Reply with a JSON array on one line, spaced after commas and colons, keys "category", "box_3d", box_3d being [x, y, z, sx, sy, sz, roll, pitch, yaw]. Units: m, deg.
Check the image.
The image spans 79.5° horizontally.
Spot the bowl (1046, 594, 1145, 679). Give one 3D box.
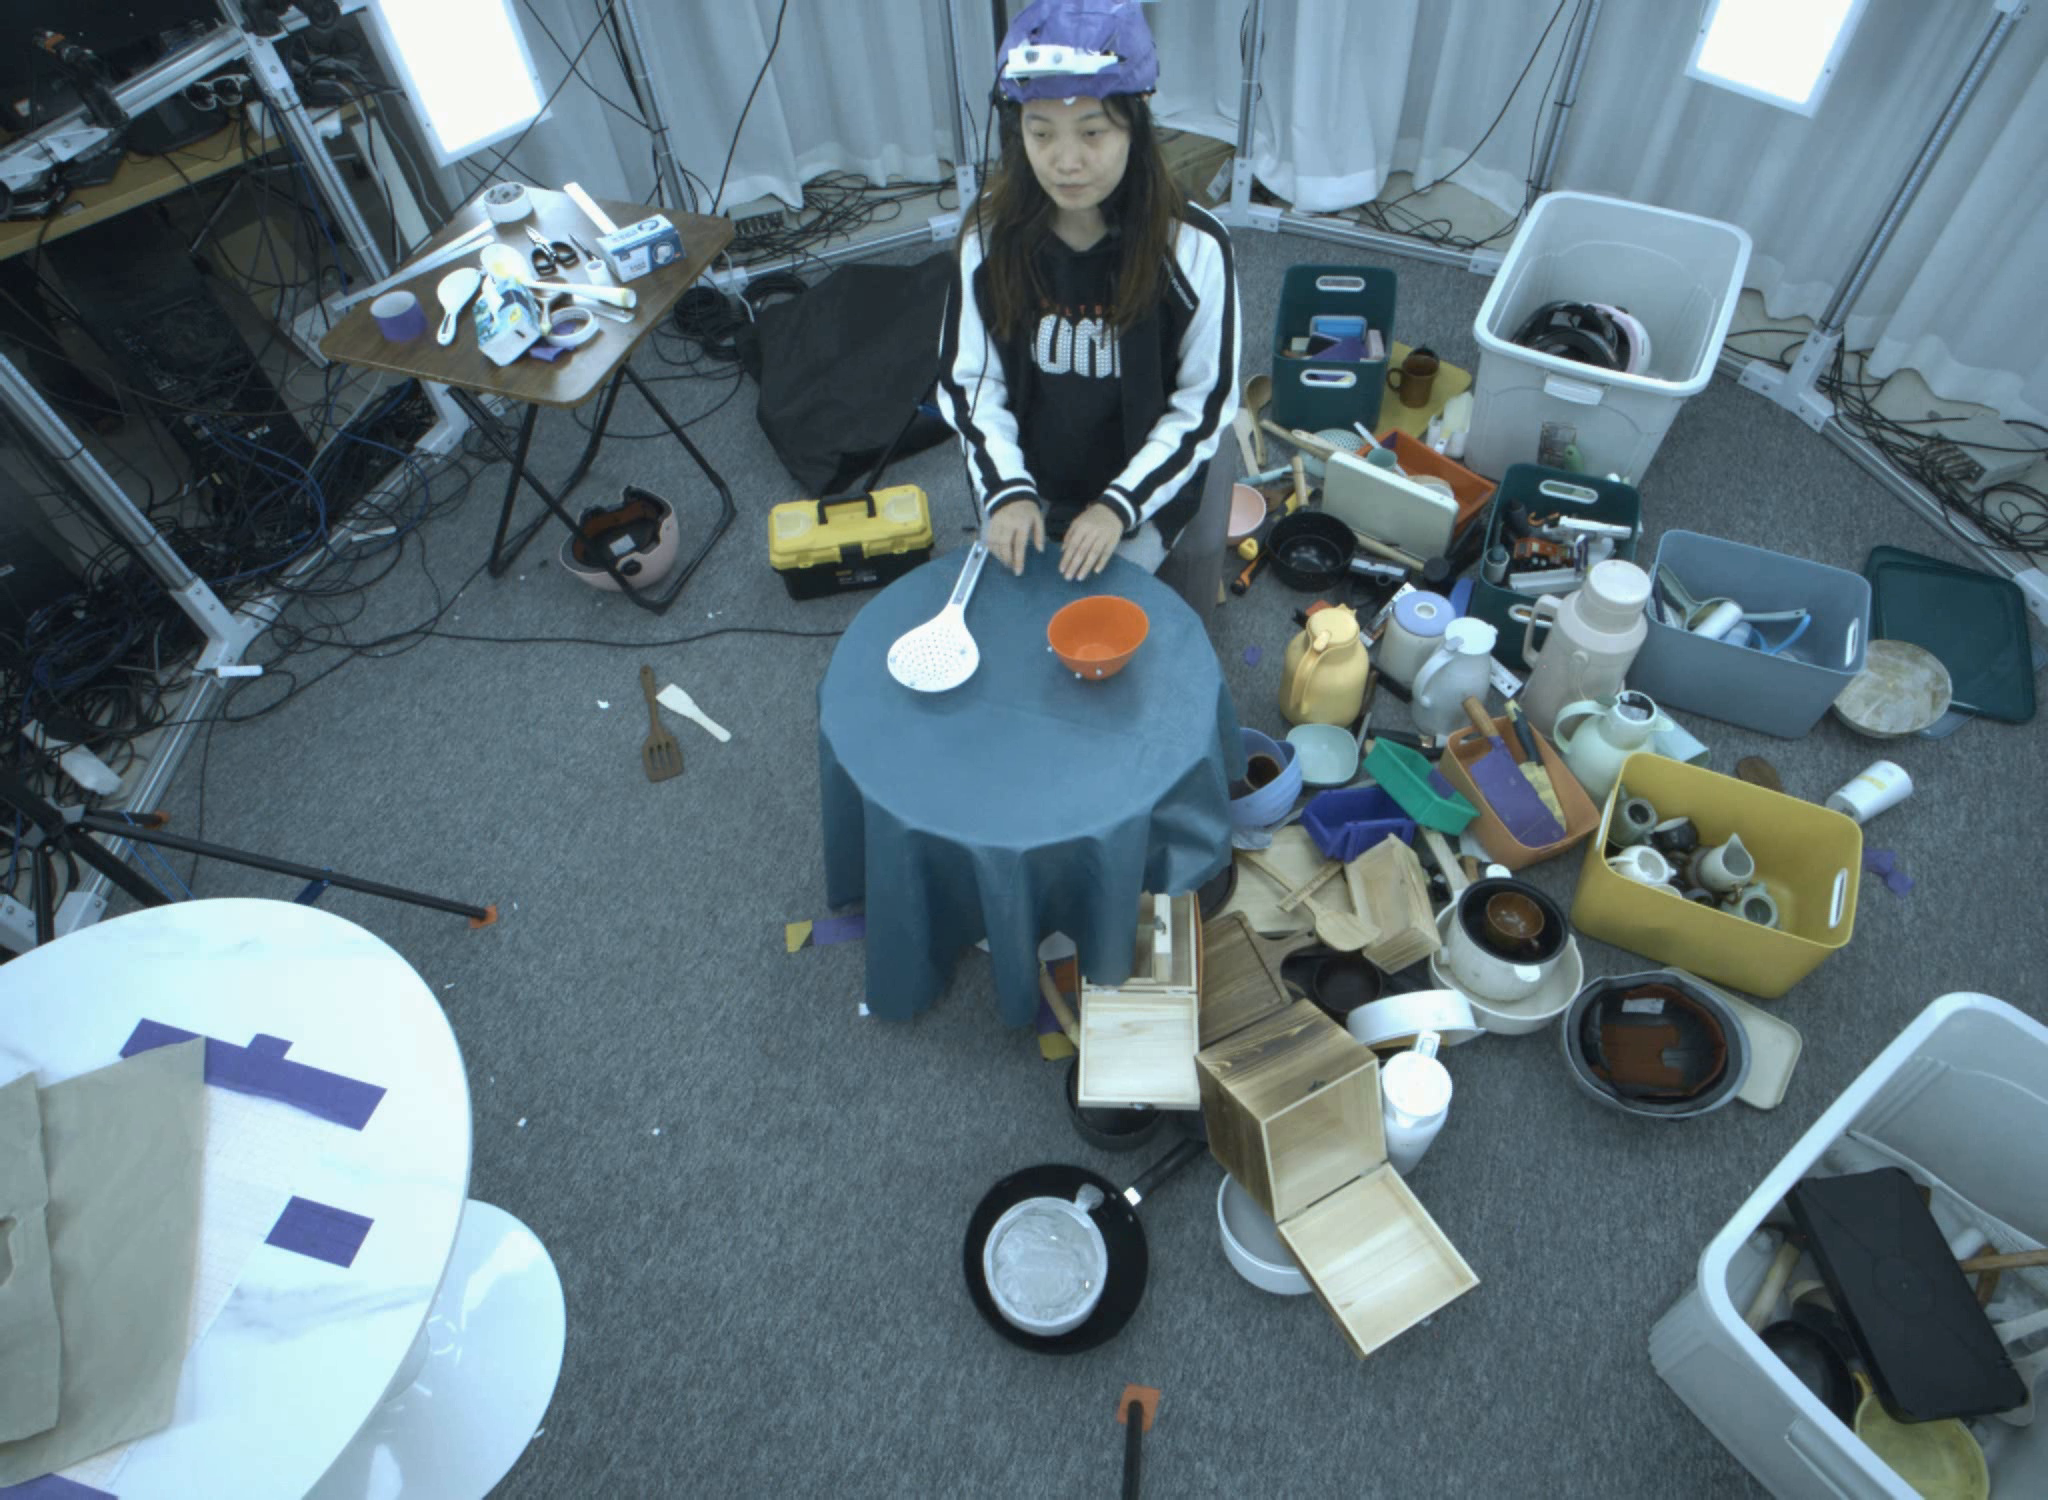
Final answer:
[{"category": "bowl", "box_3d": [0.110, -0.155, 1.825, 0.147, 0.106, 0.146, -5, 54, 8]}]

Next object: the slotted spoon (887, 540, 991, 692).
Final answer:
[{"category": "slotted spoon", "box_3d": [-0.111, -0.214, 1.915, 0.135, 0.046, 0.348, 12, 56, 8]}]
